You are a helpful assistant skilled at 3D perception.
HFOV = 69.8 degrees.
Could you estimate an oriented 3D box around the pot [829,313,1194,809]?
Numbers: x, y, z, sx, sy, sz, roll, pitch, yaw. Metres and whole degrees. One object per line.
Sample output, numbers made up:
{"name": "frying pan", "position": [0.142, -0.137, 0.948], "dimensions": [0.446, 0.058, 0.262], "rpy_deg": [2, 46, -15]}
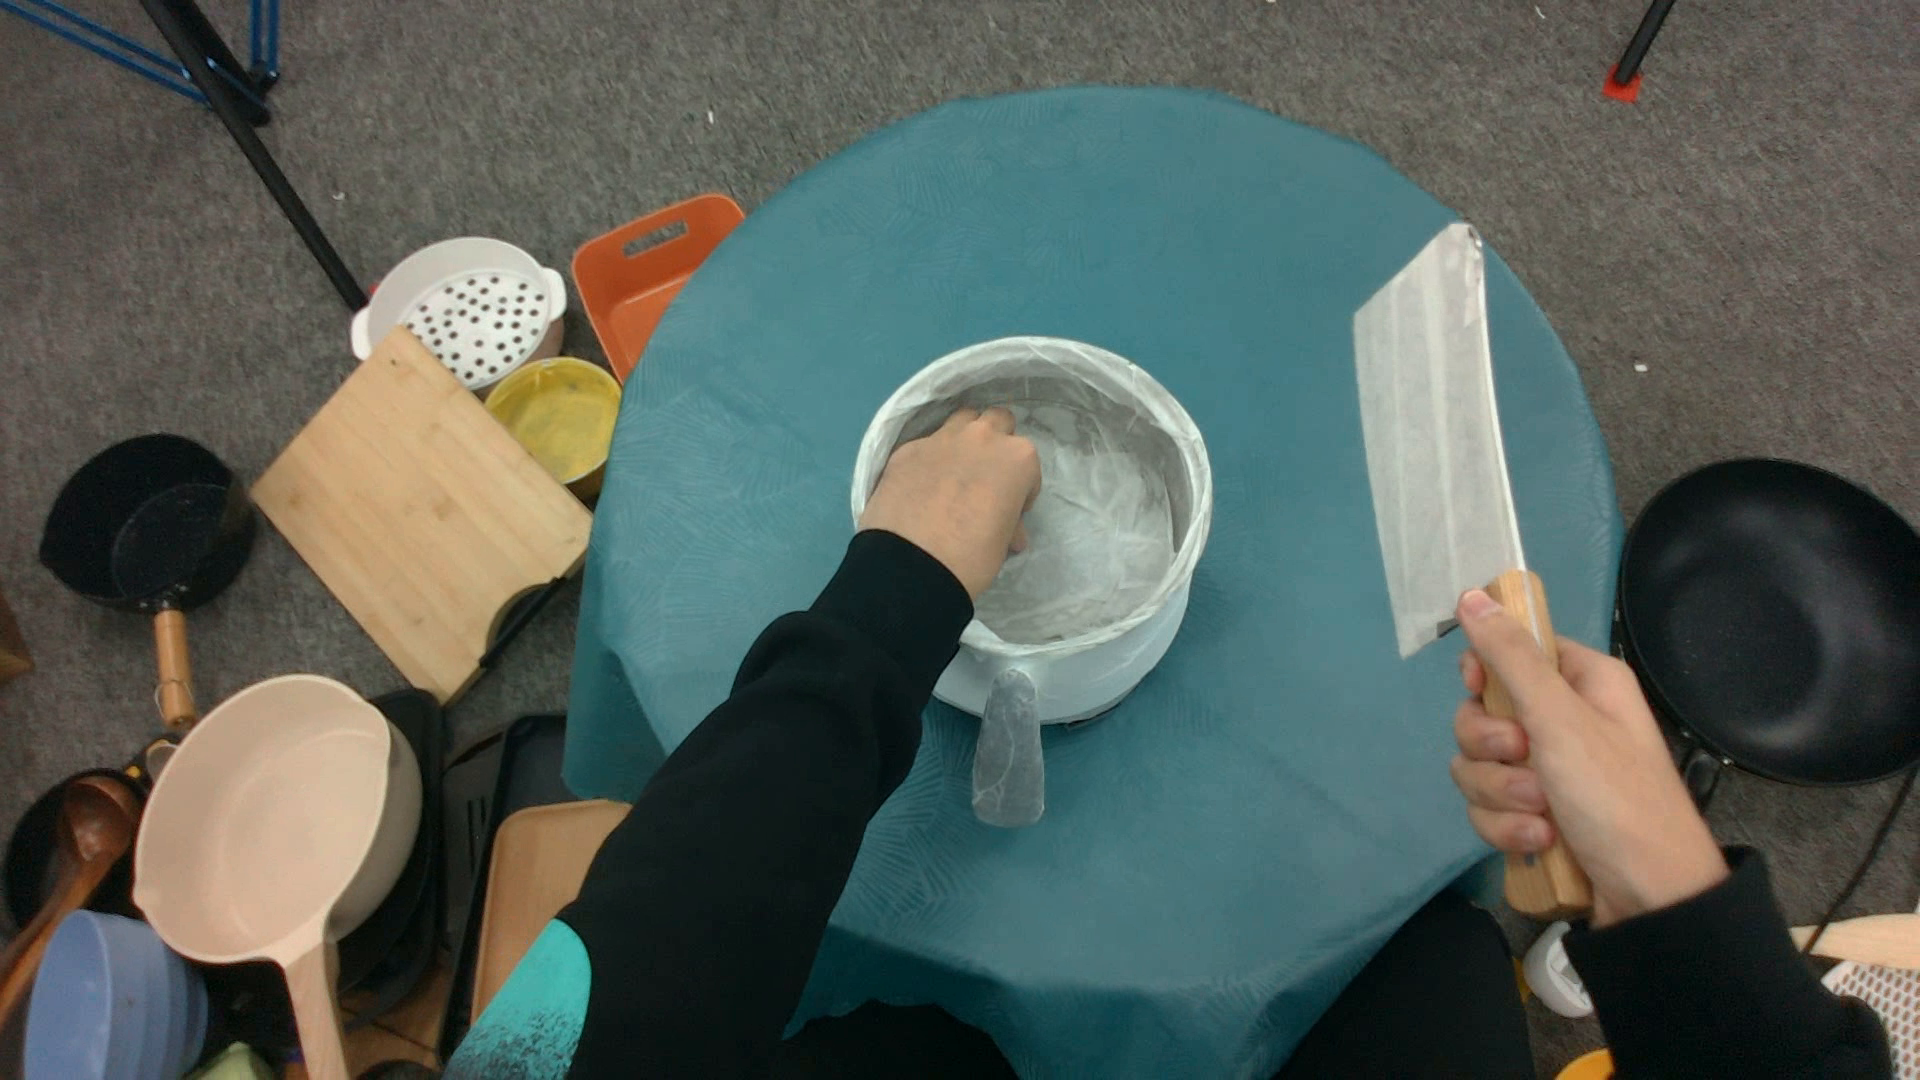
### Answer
{"name": "pot", "position": [0.025, 0.015, 0.715], "dimensions": [0.178, 0.136, 0.234], "rpy_deg": [3, 64, 4]}

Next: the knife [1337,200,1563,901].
{"name": "knife", "position": [0.203, -0.006, 0.580], "dimensions": [0.022, 0.113, 0.316], "rpy_deg": [7, 60, -15]}
